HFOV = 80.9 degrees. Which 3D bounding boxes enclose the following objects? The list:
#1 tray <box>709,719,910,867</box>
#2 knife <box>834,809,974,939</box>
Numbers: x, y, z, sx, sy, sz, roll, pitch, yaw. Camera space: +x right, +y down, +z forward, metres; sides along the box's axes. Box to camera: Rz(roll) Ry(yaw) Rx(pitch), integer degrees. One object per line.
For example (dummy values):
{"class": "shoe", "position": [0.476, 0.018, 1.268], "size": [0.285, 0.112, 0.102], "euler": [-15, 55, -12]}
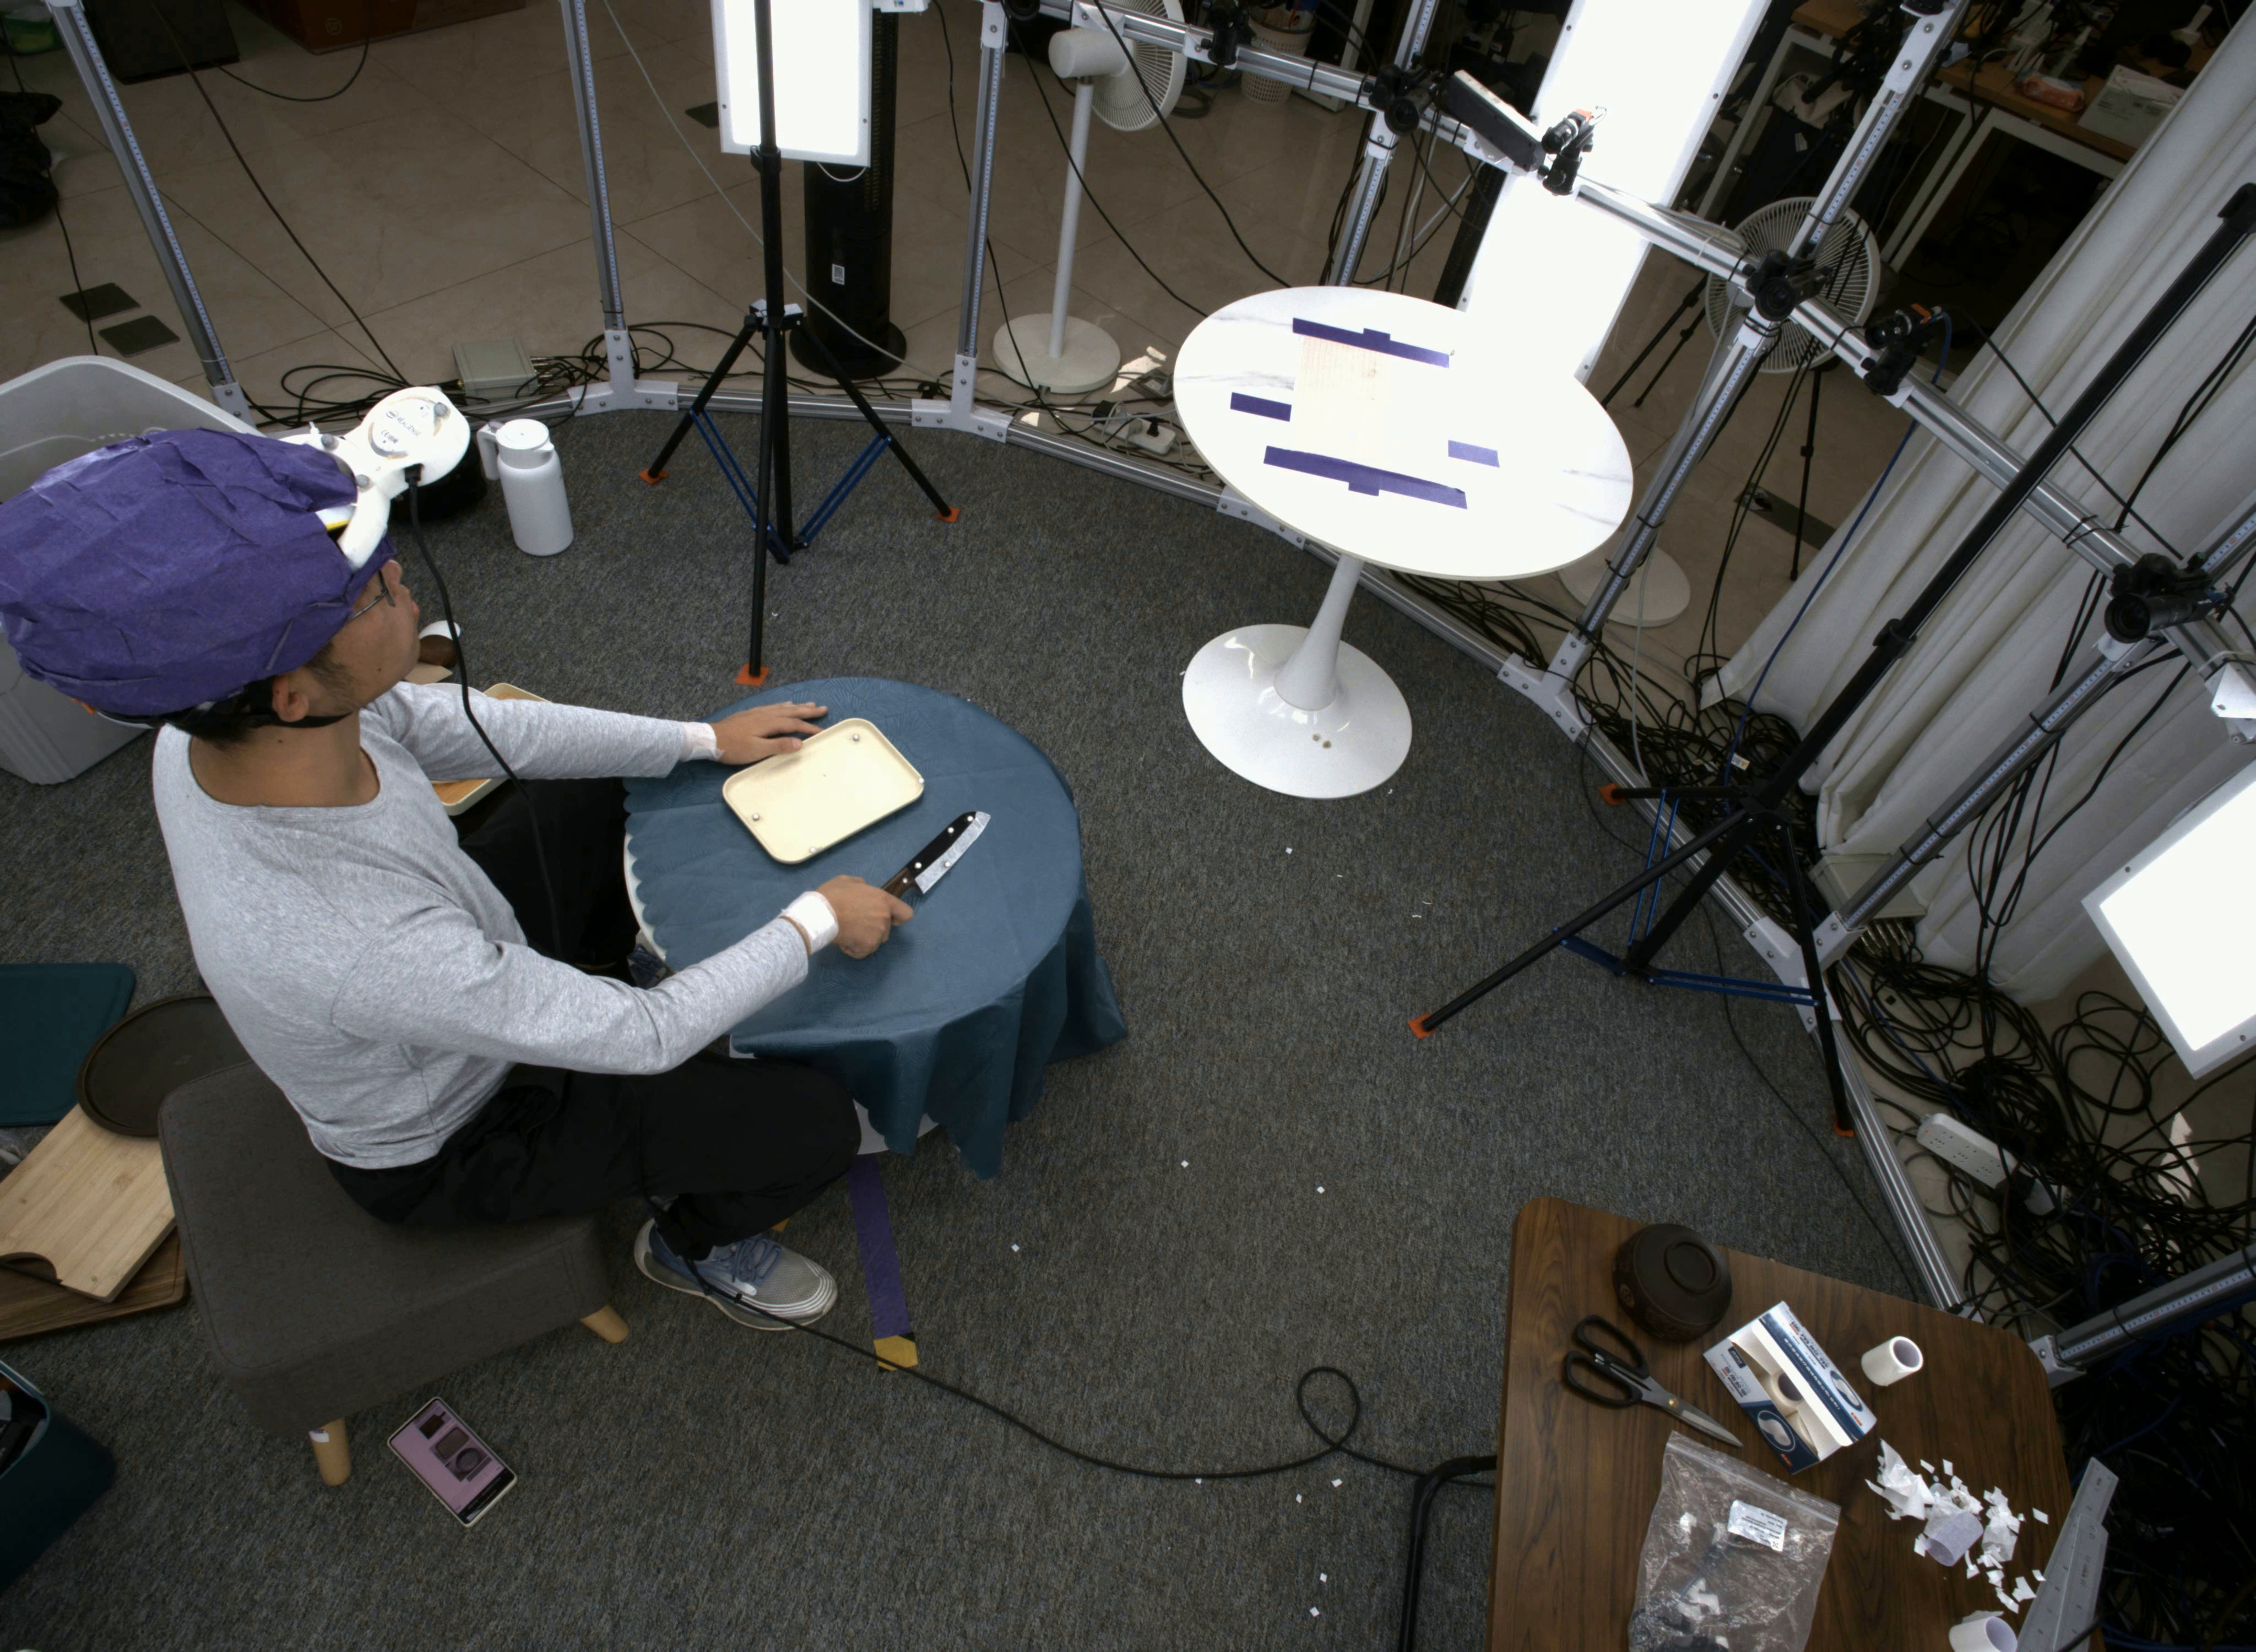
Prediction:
{"class": "tray", "position": [-0.430, -0.047, 1.757], "size": [0.240, 0.018, 0.167], "euler": [-33, 67, -31]}
{"class": "knife", "position": [-0.286, 0.056, 1.698], "size": [0.051, 0.019, 0.288], "euler": [59, 44, -16]}
